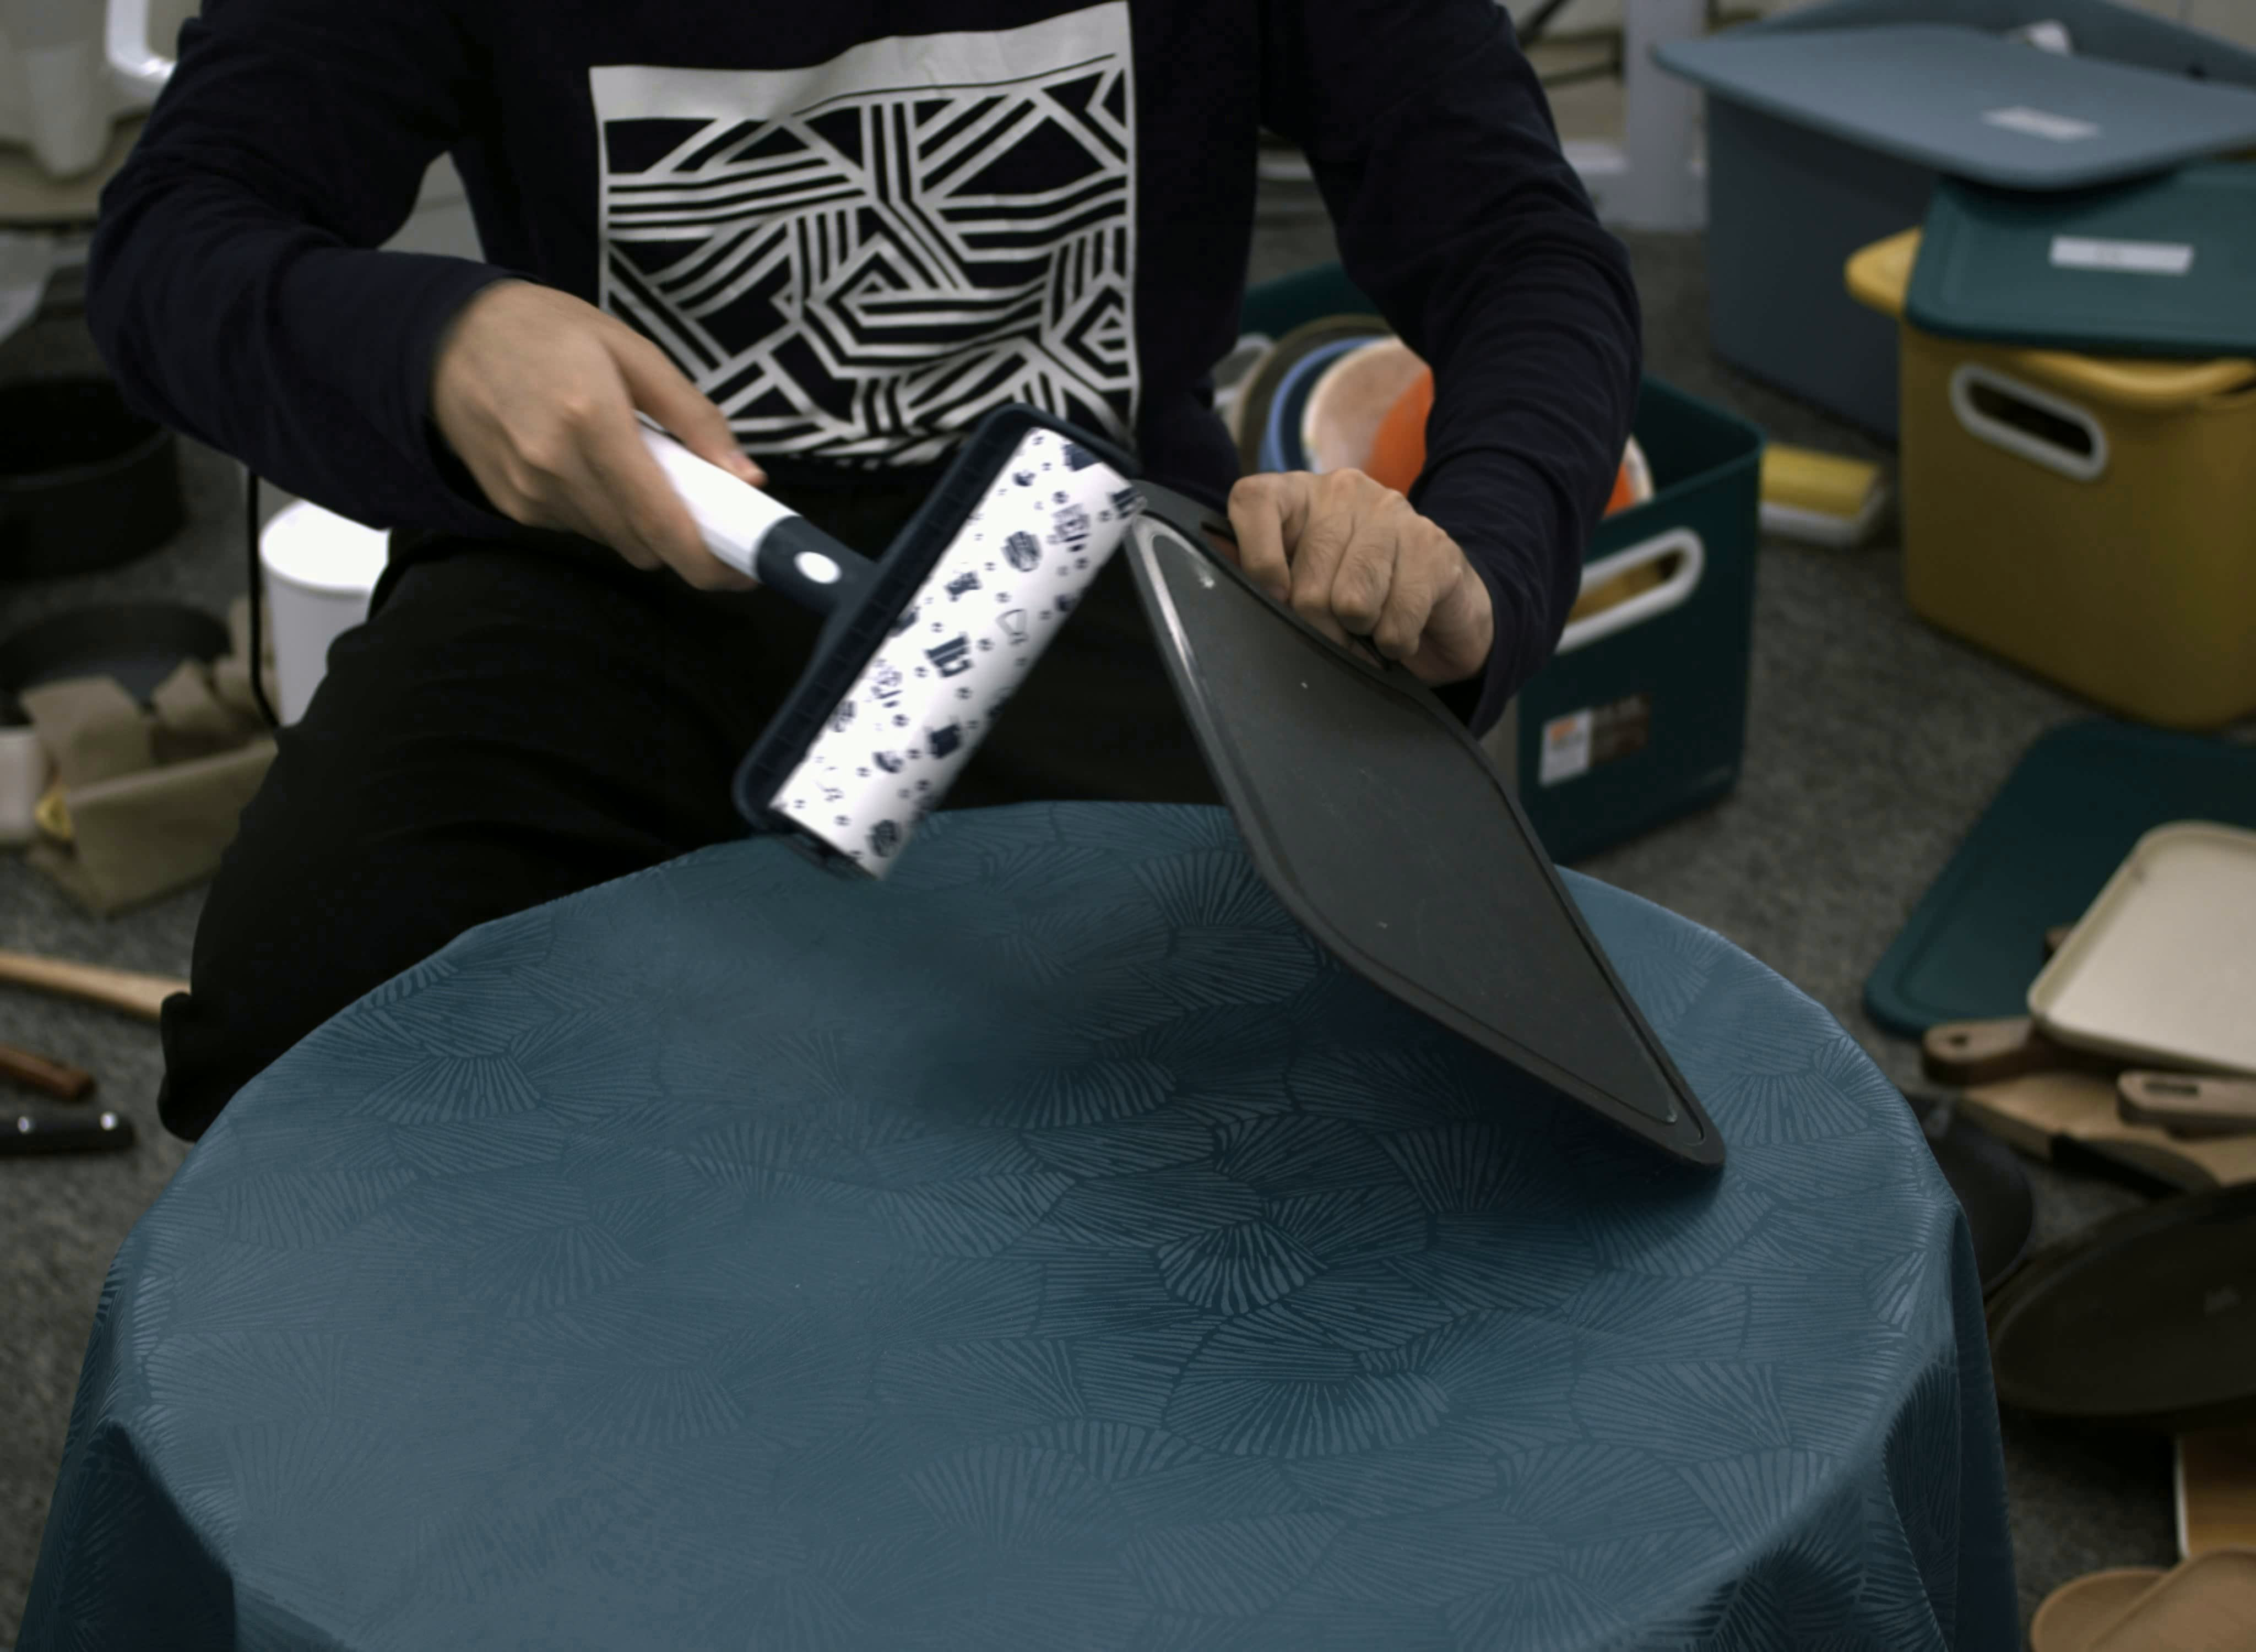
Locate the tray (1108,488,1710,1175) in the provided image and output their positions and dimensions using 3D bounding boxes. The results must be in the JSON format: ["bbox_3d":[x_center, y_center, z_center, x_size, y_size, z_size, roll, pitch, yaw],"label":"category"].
[{"bbox_3d":[0.089,-0.009,1.924,0.210,0.010,0.330,32,20,-29],"label":"tray"}]

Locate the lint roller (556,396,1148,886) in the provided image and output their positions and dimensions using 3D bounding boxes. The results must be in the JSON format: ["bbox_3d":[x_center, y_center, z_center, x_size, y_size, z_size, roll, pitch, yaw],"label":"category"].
[{"bbox_3d":[-0.124,-0.099,1.976,0.247,0.050,0.177,29,82,37],"label":"lint roller"}]
